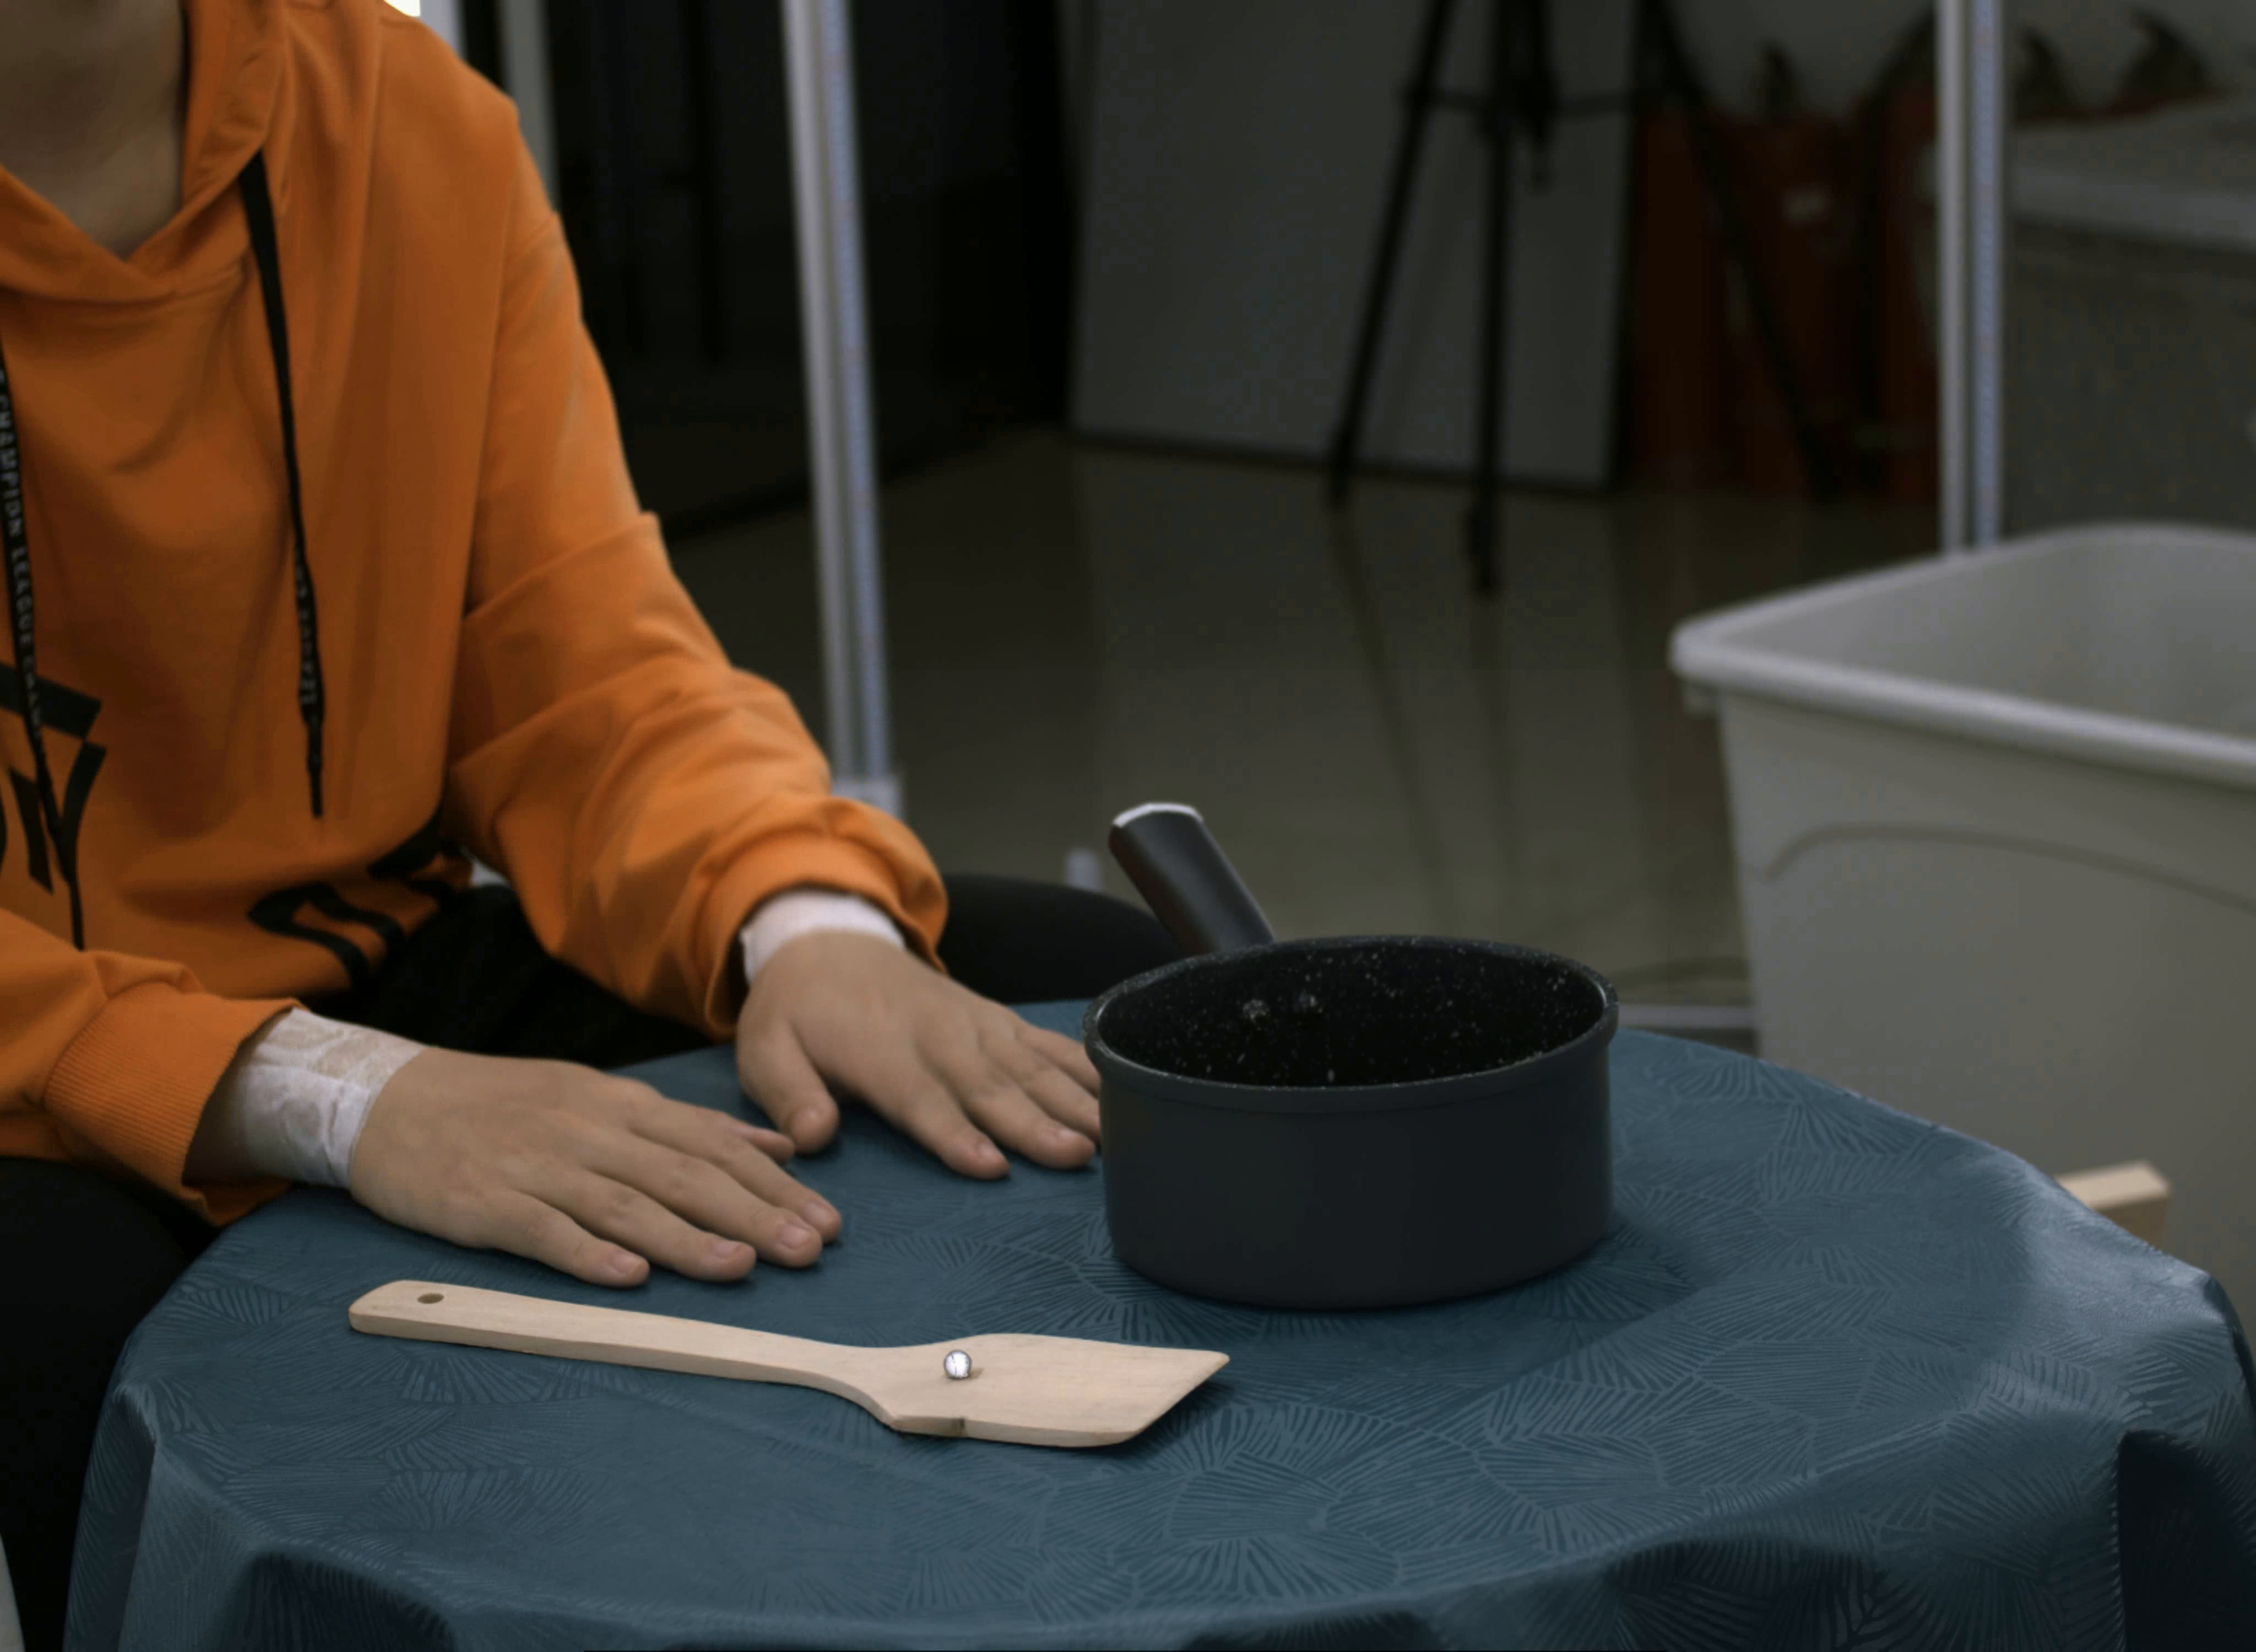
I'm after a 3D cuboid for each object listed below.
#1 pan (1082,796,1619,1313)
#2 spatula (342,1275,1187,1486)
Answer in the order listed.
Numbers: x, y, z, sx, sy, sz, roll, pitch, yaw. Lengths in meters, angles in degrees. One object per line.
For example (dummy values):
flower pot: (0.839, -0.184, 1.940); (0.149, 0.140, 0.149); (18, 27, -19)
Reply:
pan: (0.055, 0.071, 1.779); (0.169, 0.087, 0.331); (-6, 15, -10)
spatula: (-0.120, 0.164, 1.630); (0.294, 0.011, 0.071); (7, 21, 32)
